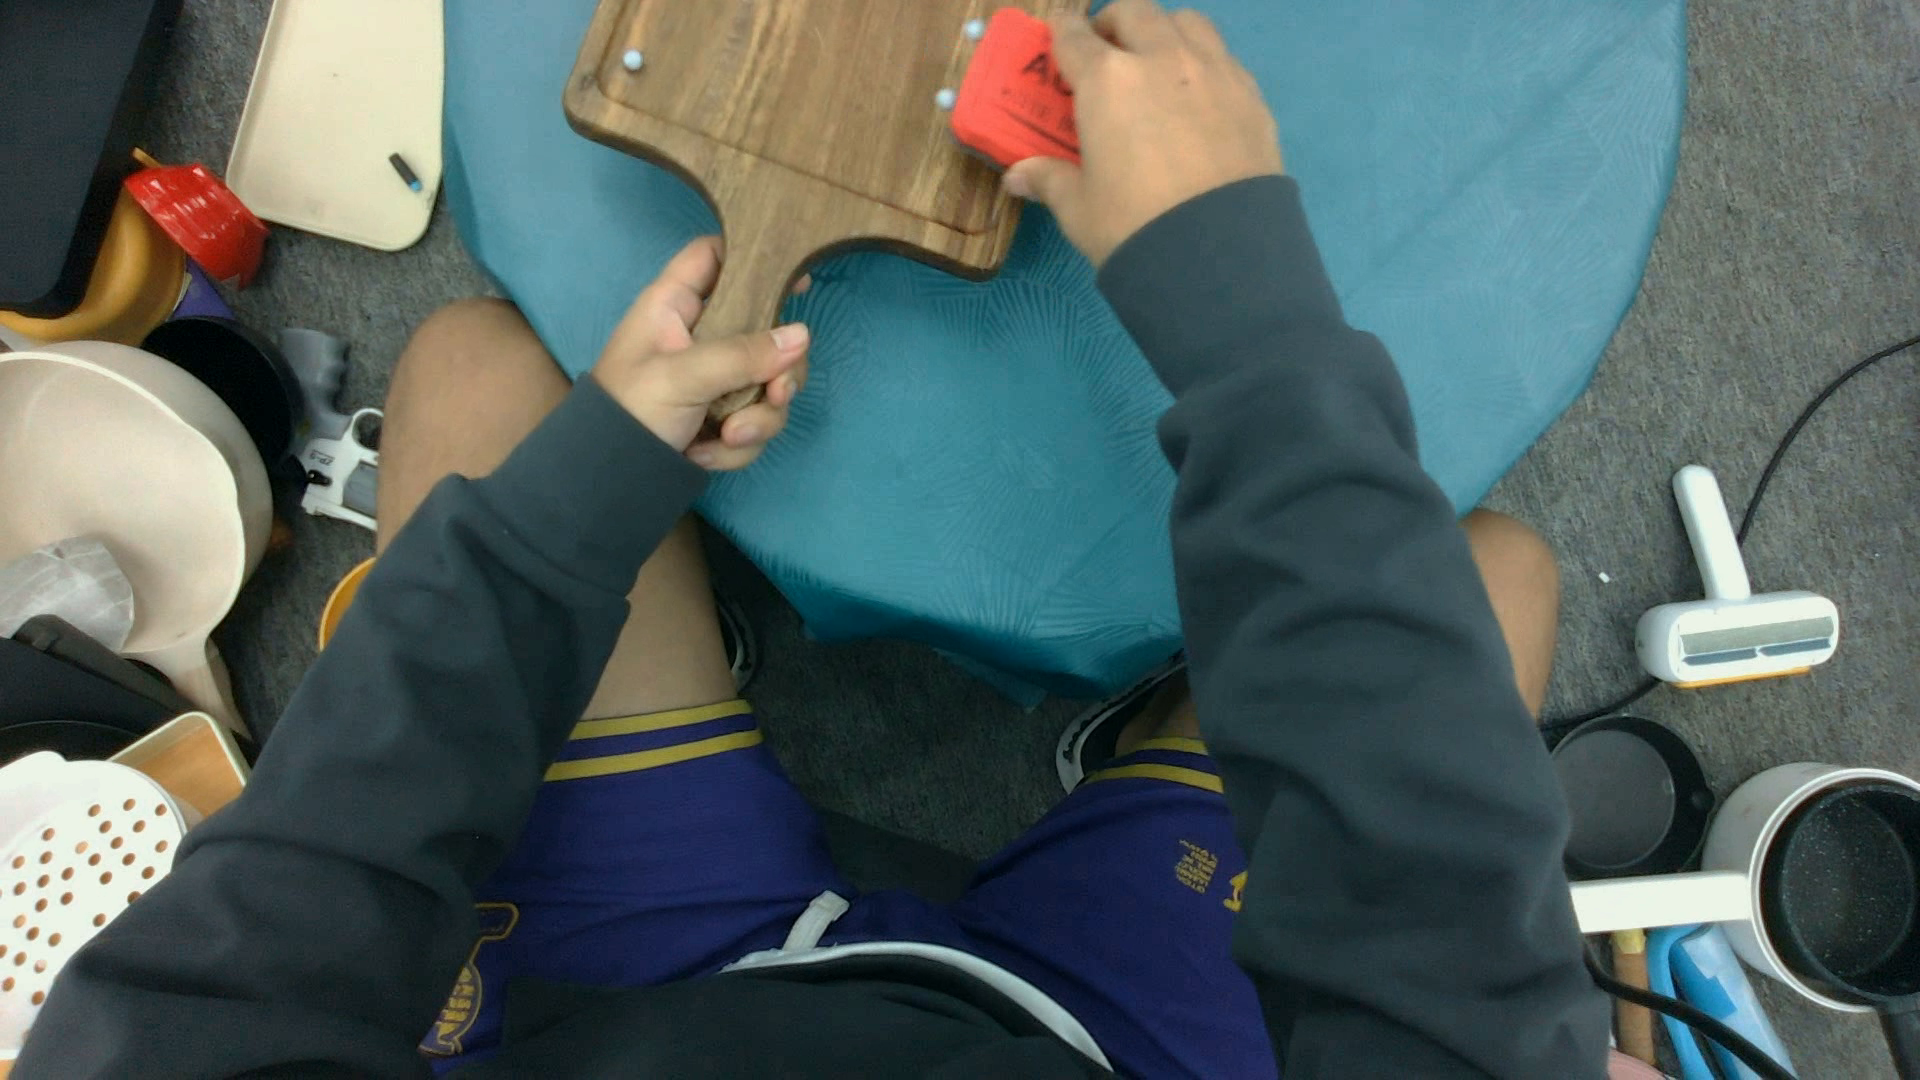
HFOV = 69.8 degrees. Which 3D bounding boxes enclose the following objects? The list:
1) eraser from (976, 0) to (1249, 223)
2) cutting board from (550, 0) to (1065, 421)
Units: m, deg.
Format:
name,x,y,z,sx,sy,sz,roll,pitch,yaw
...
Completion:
name,x,y,z,sx,sy,sz,roll,pitch,yaw
eraser,0.065,-0.182,0.582,0.108,0.023,0.059,24,83,-12
cutting board,-0.062,-0.220,0.605,0.201,0.023,0.353,17,79,-8
